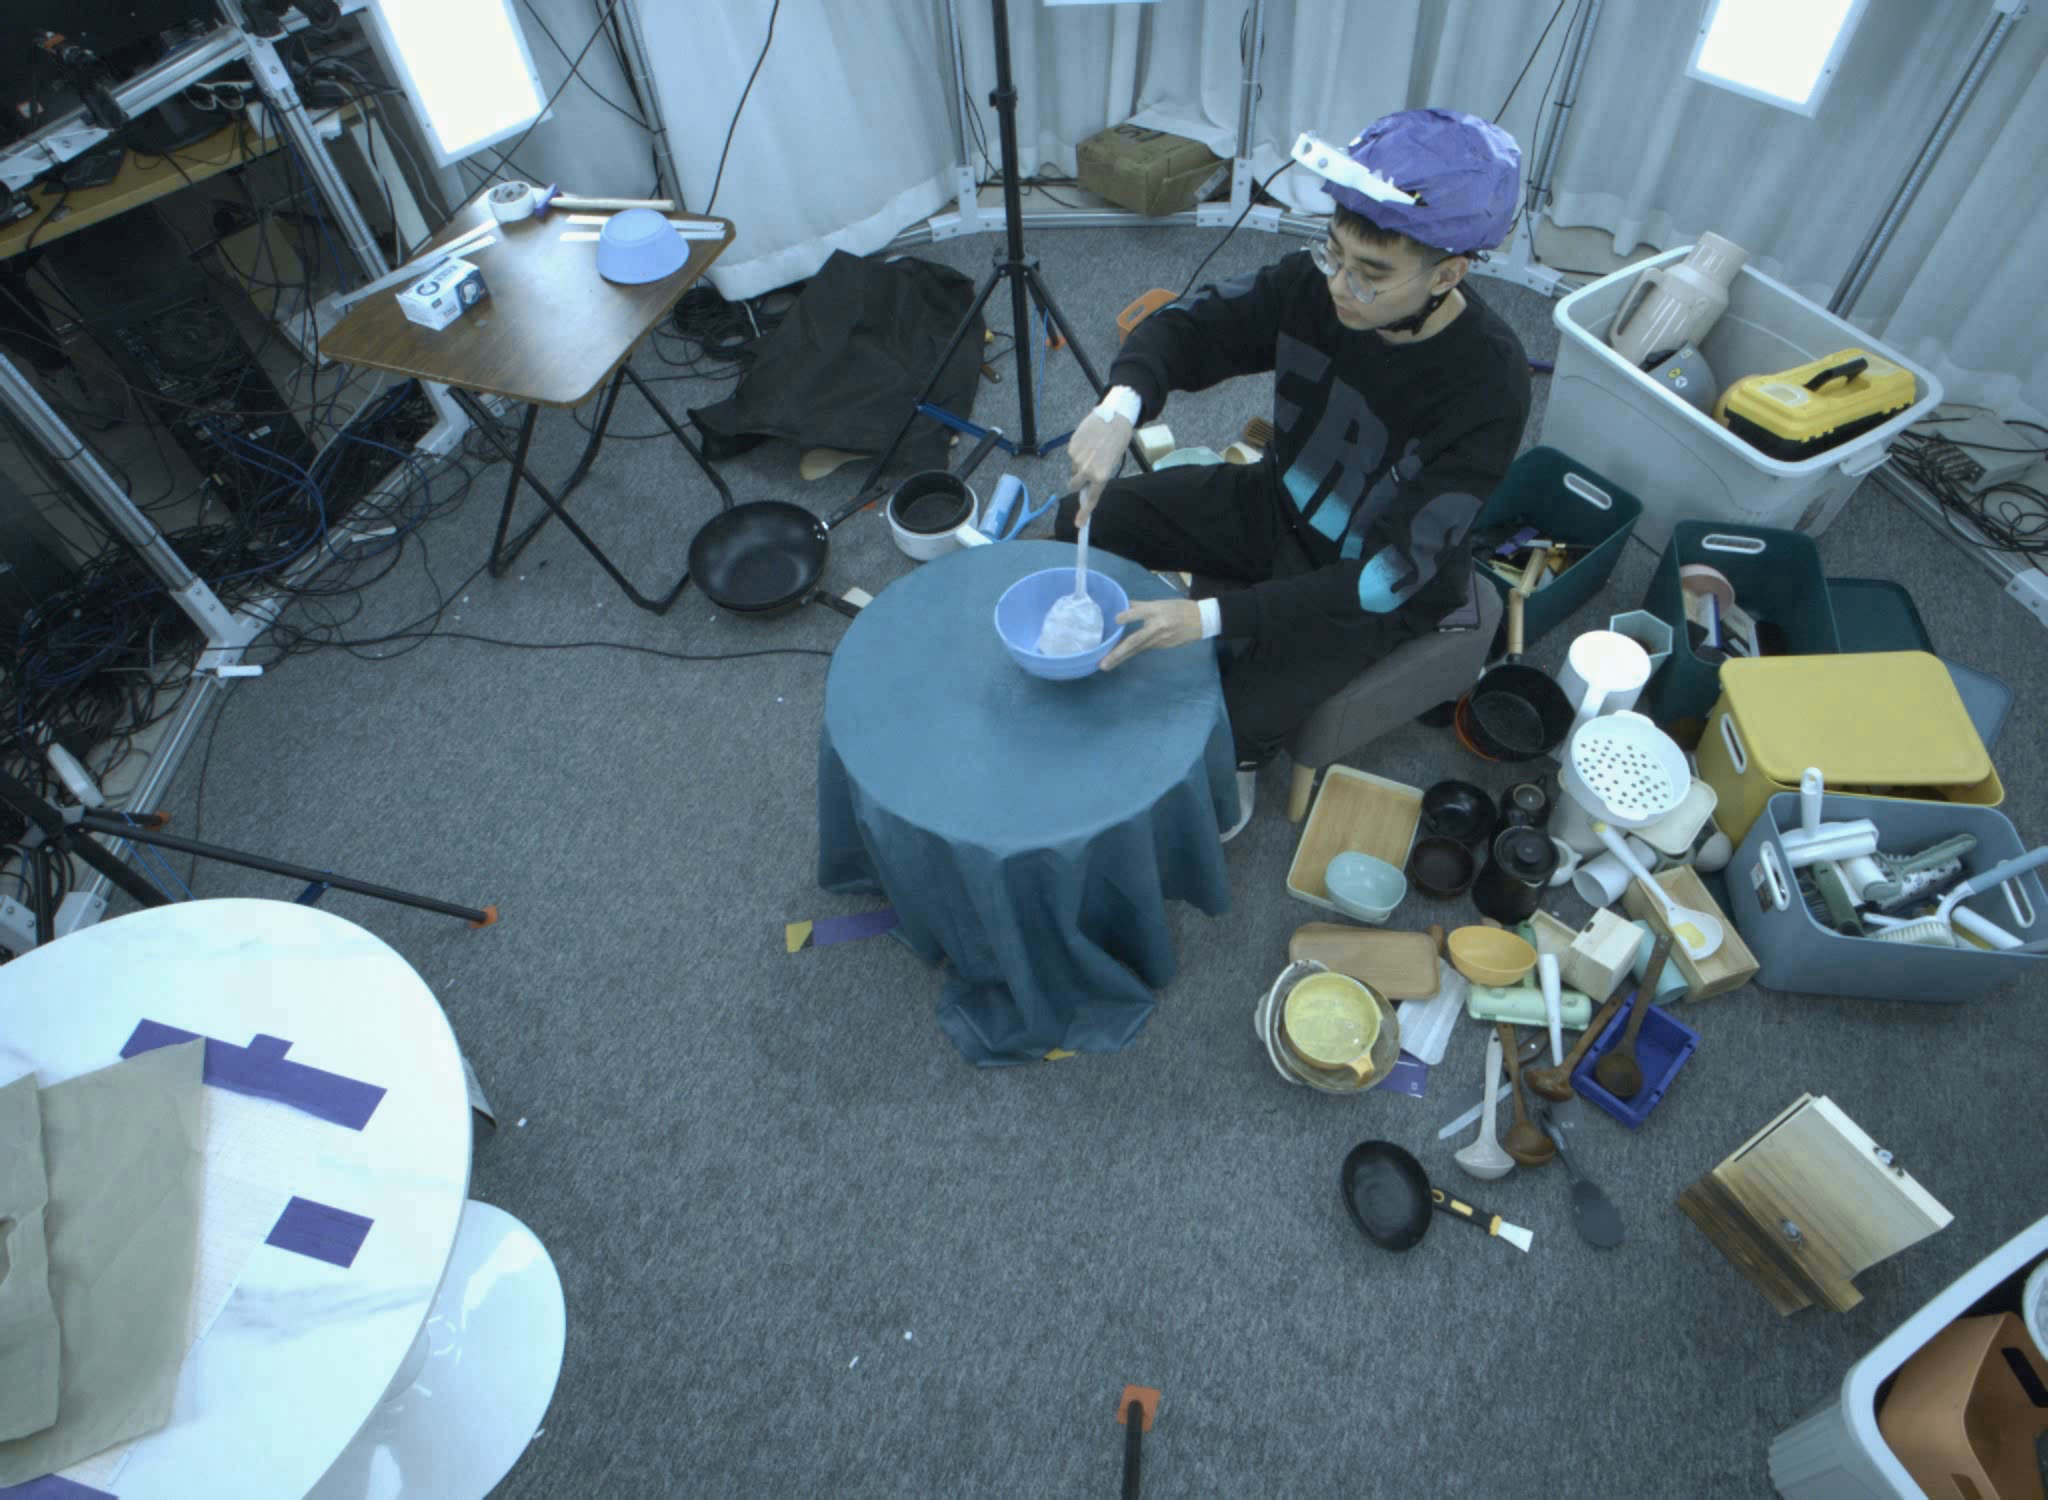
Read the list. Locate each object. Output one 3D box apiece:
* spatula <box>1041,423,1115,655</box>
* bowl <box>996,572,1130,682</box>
[{"bbox_3d":[0.090,-0.296,1.781,0.097,0.367,0.045,17,26,24],"label":"spatula"},{"bbox_3d":[0.061,-0.168,1.827,0.196,0.097,0.194,-3,48,5],"label":"bowl"}]
